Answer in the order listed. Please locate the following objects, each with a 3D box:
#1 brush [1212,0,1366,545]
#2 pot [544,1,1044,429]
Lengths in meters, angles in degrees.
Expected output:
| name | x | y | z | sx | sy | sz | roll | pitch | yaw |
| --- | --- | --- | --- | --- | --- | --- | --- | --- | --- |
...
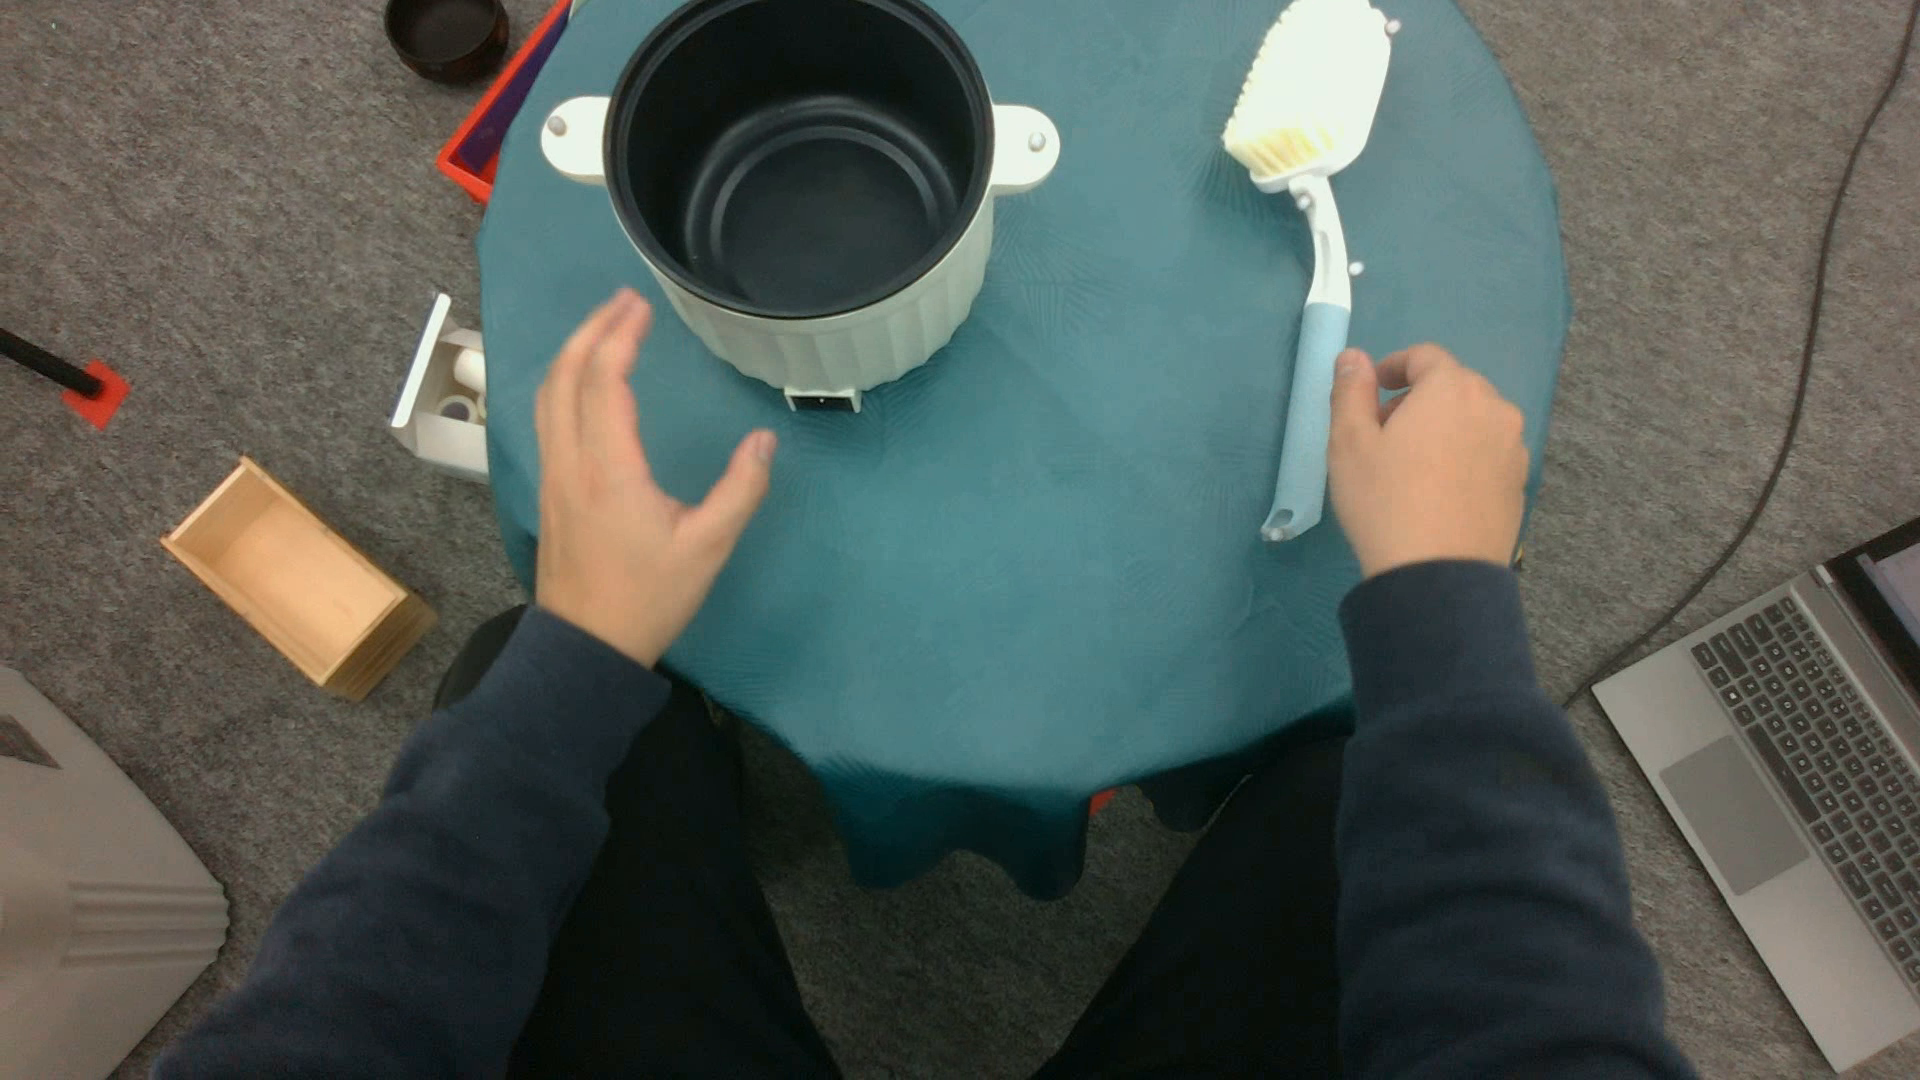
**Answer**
| name | x | y | z | sx | sy | sz | roll | pitch | yaw |
| --- | --- | --- | --- | --- | --- | --- | --- | --- | --- |
| brush | 0.172 | -0.159 | 0.730 | 0.084 | 0.083 | 0.326 | 9 | 74 | 1 |
| pot | -0.078 | -0.166 | 0.717 | 0.240 | 0.142 | 0.191 | -2 | 78 | 2 |
